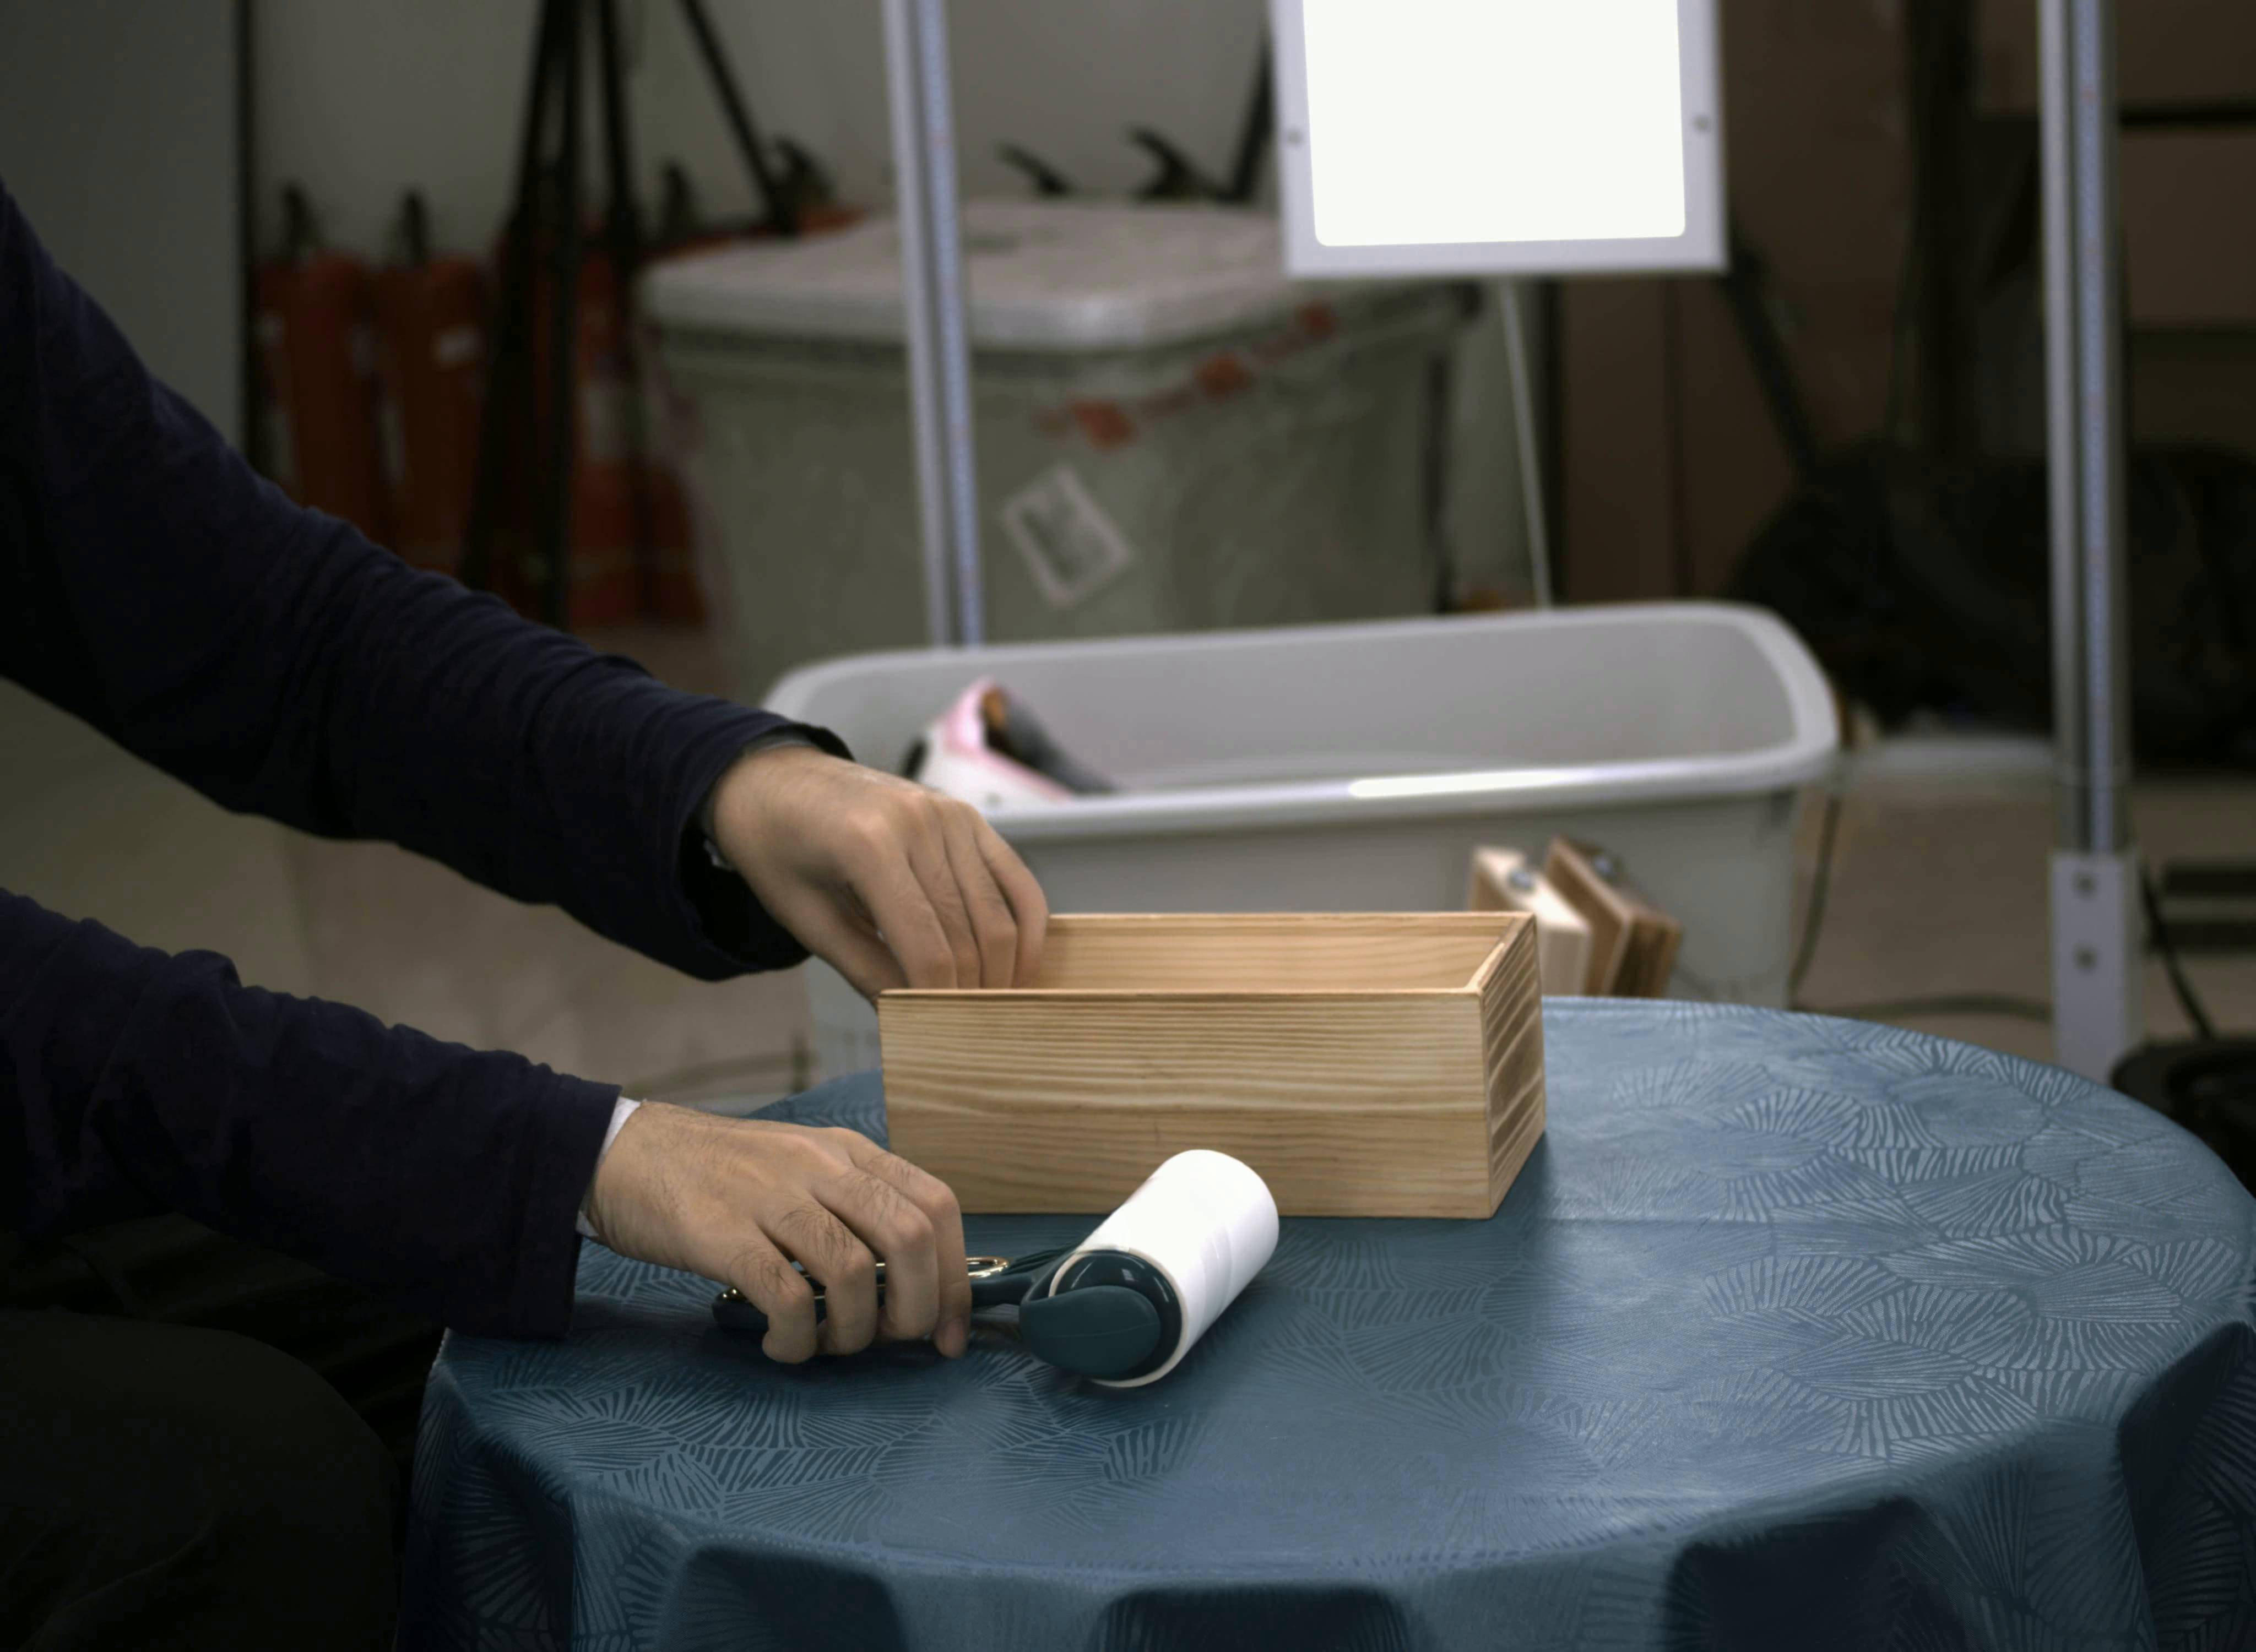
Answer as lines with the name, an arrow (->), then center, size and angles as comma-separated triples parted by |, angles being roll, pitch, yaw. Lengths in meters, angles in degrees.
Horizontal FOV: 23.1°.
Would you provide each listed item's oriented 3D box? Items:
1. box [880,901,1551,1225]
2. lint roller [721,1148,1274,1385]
box -> 0.033, 0.082, 1.908 | 0.214, 0.080, 0.106 | -2, 15, 17
lint roller -> -0.051, 0.144, 1.771 | 0.182, 0.048, 0.132 | -5, 13, 21
